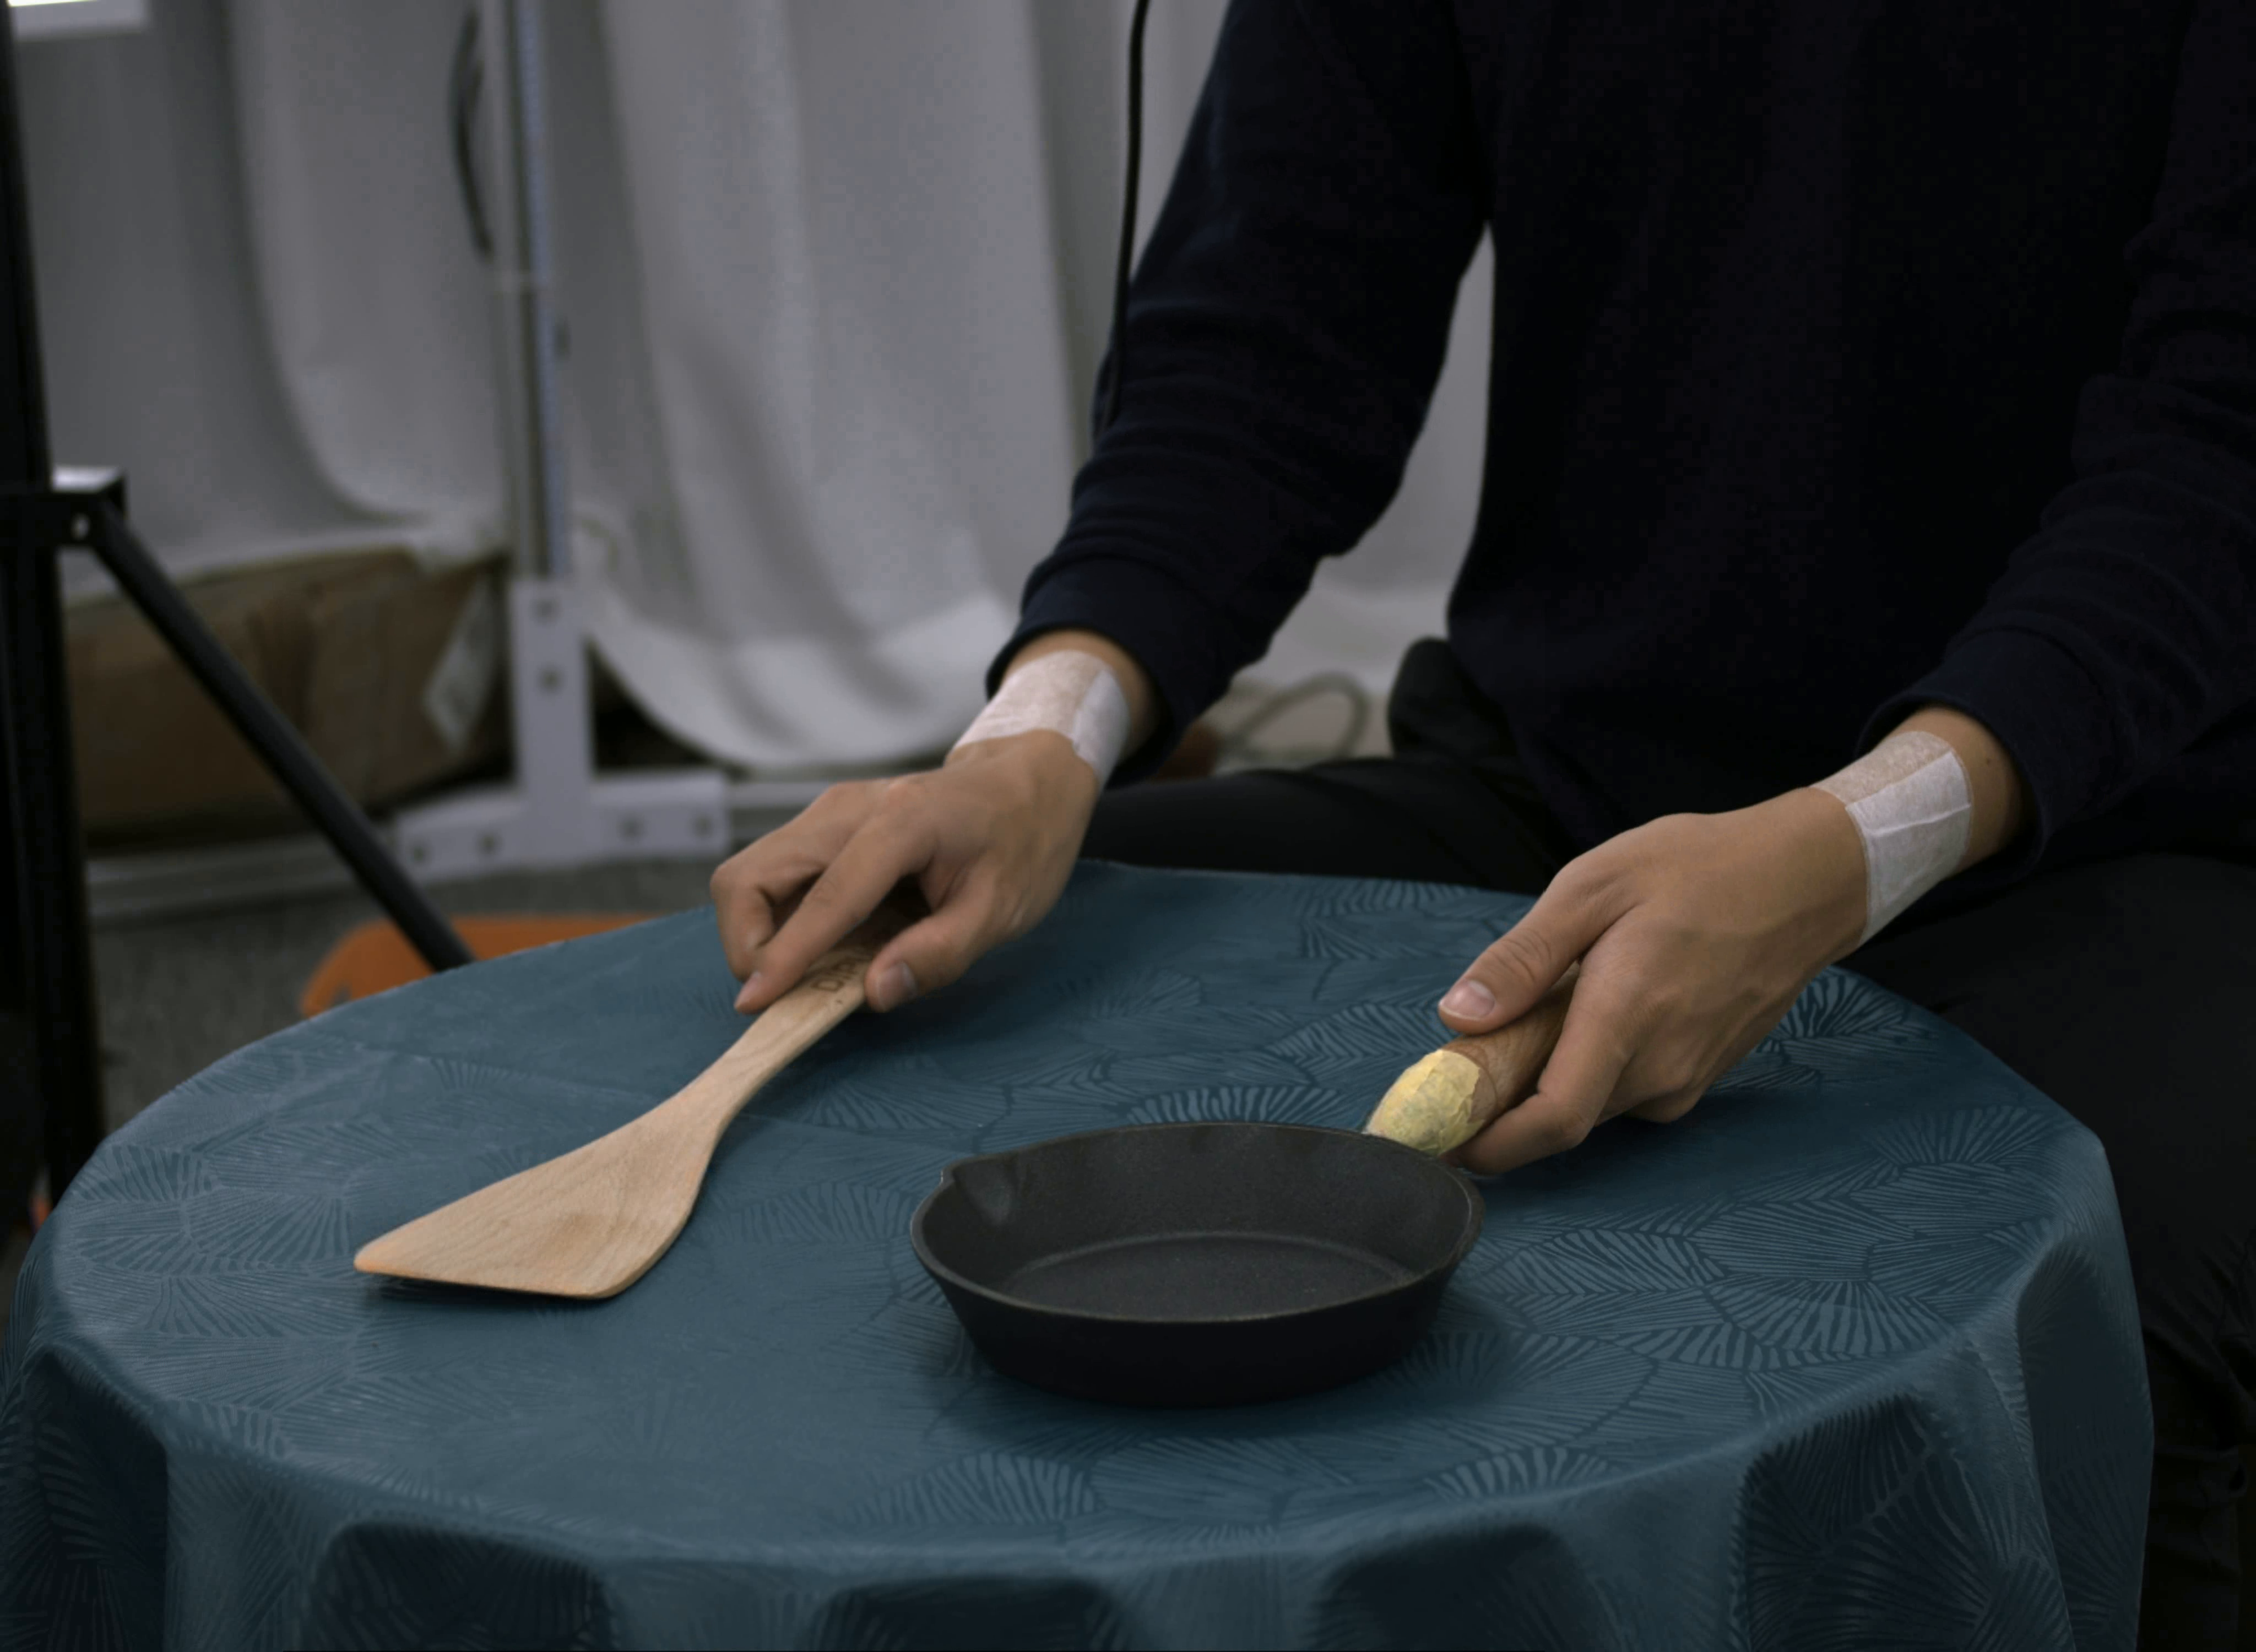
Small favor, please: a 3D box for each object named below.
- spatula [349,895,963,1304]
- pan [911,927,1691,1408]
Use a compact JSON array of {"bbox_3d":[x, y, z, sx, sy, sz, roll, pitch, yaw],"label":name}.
[{"bbox_3d":[-0.124,0.079,1.627,0.081,0.016,0.323,9,24,21],"label":"spatula"},{"bbox_3d":[0.072,0.093,1.506,0.172,0.049,0.317,10,22,38],"label":"pan"}]
